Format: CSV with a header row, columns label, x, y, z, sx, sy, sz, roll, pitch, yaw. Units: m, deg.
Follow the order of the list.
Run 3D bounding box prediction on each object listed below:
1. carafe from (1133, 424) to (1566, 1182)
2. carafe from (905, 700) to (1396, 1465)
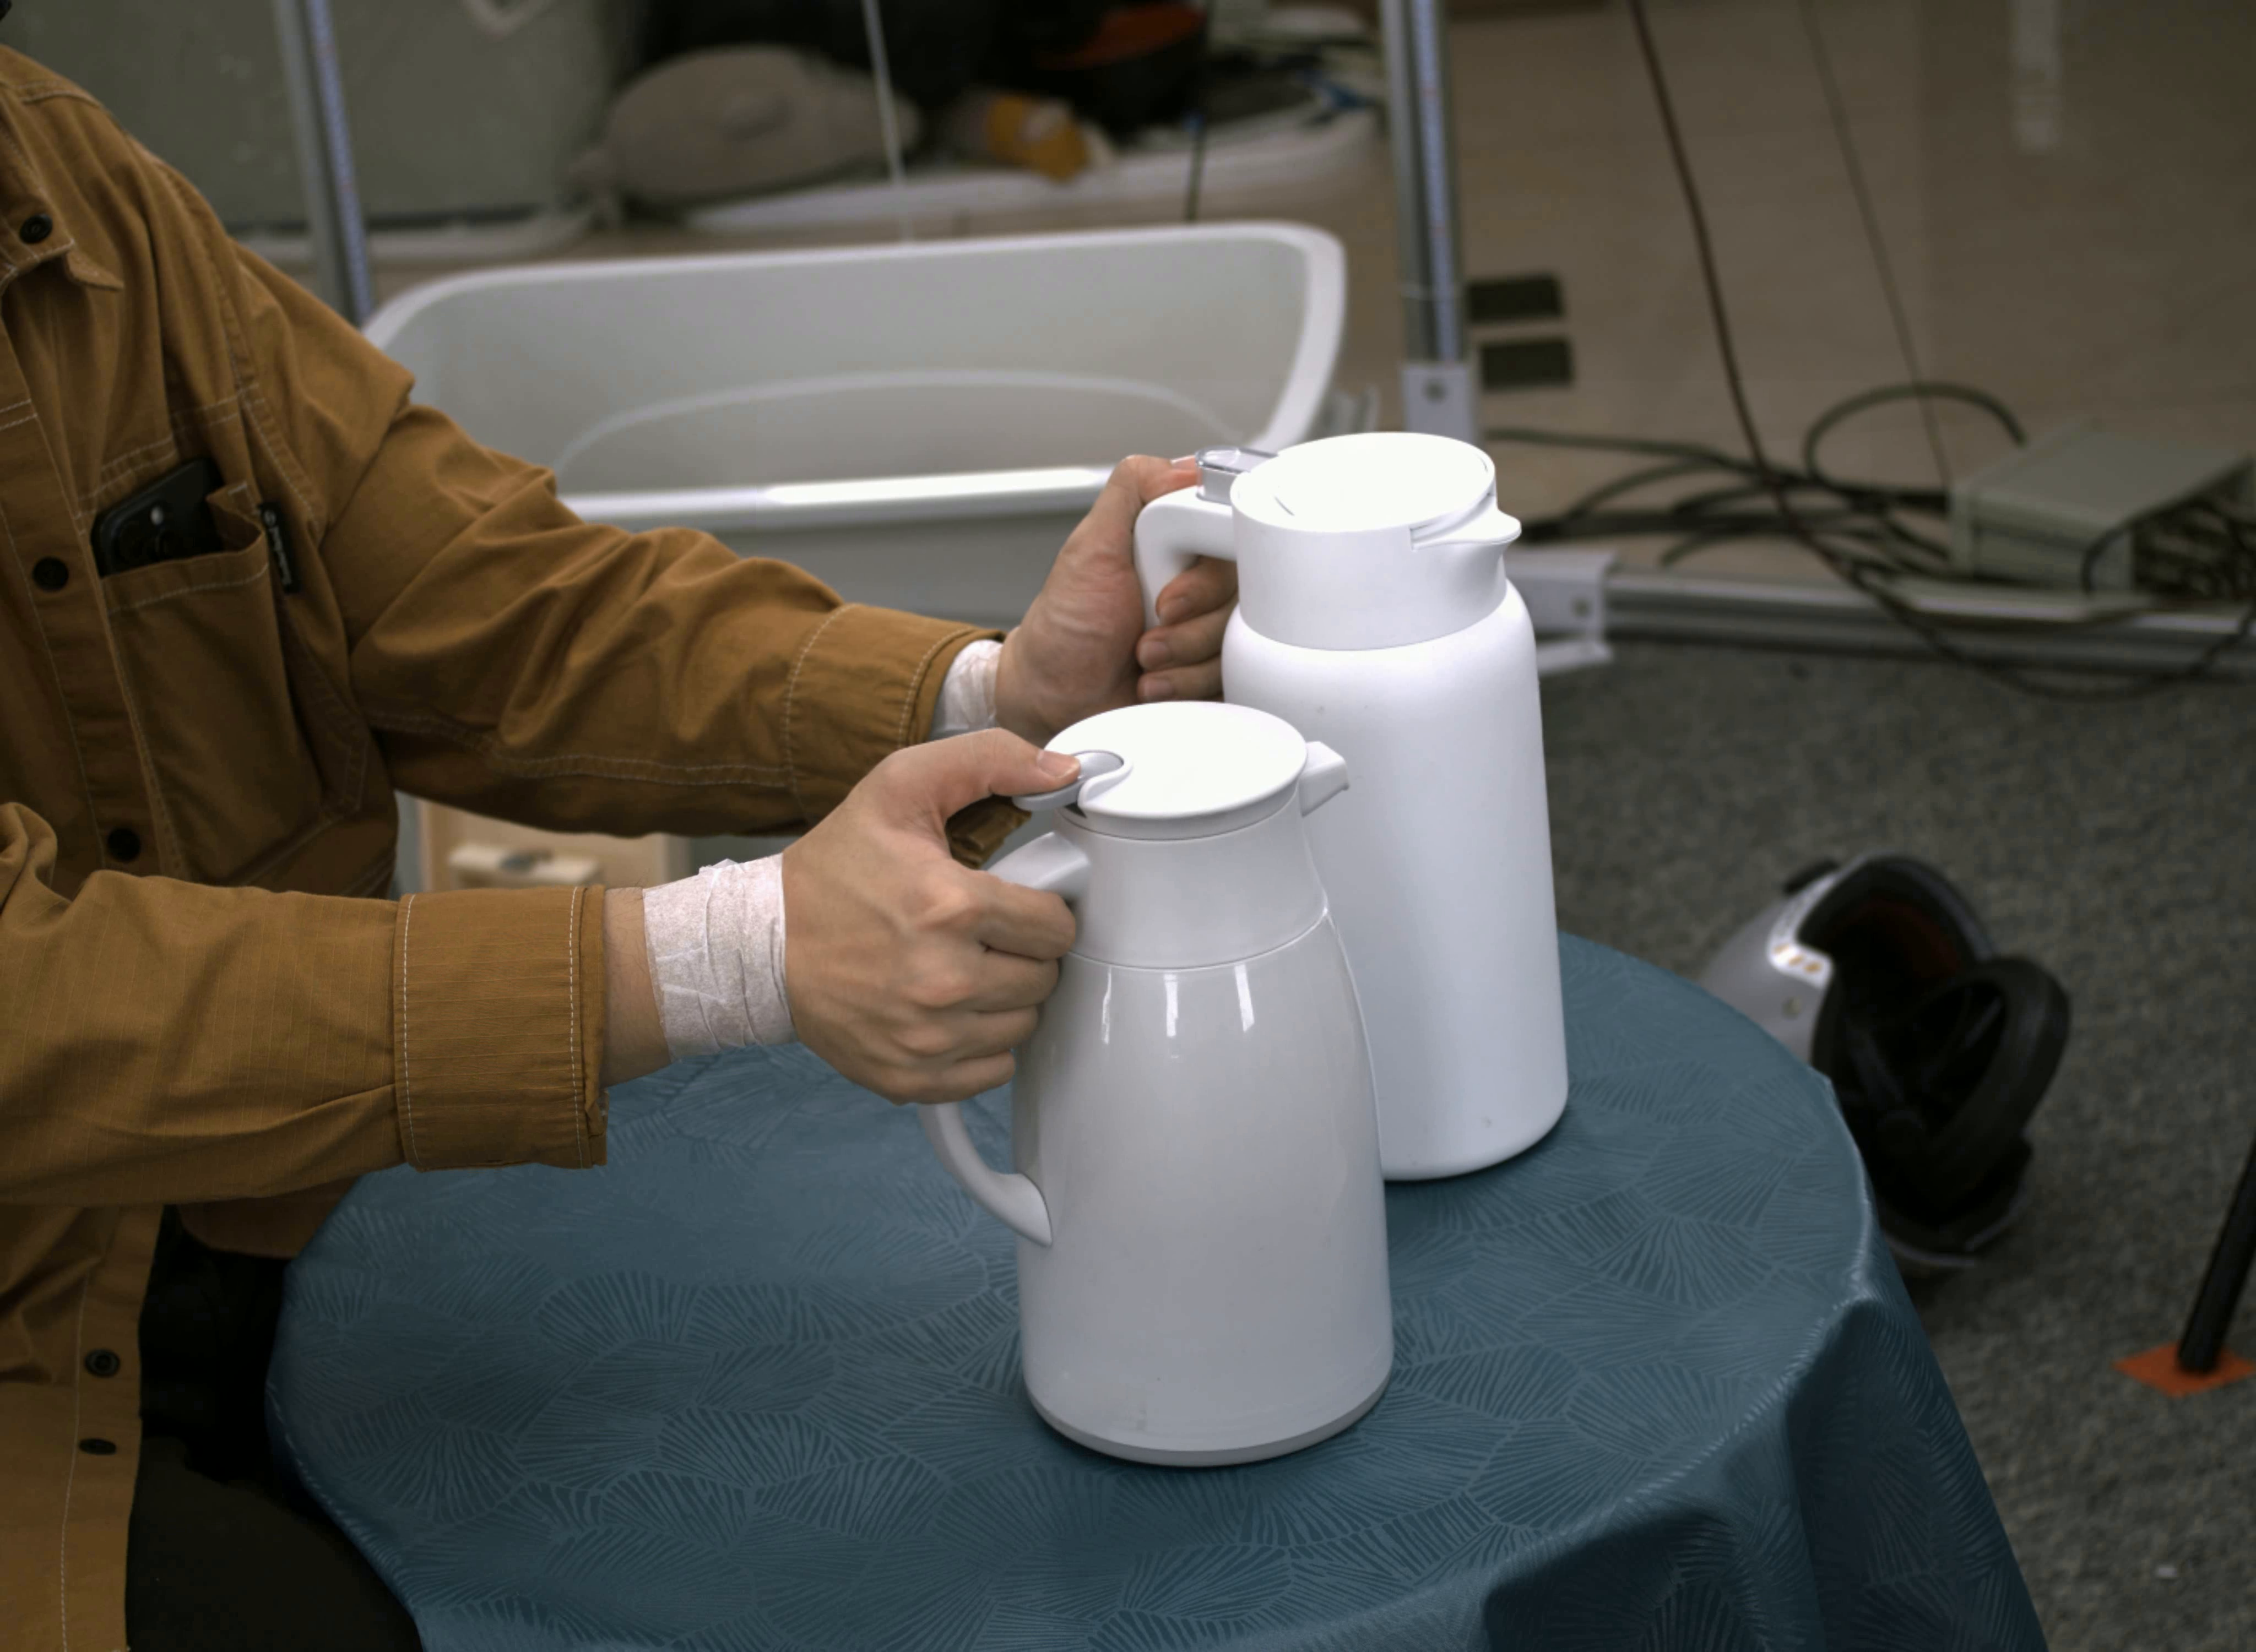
label,x,y,z,sx,sy,sz,roll,pitch,yaw
carafe,0.084,-0.010,2.128,0.172,0.273,0.122,14,34,36
carafe,0.005,0.087,1.953,0.167,0.253,0.131,-17,29,-23
